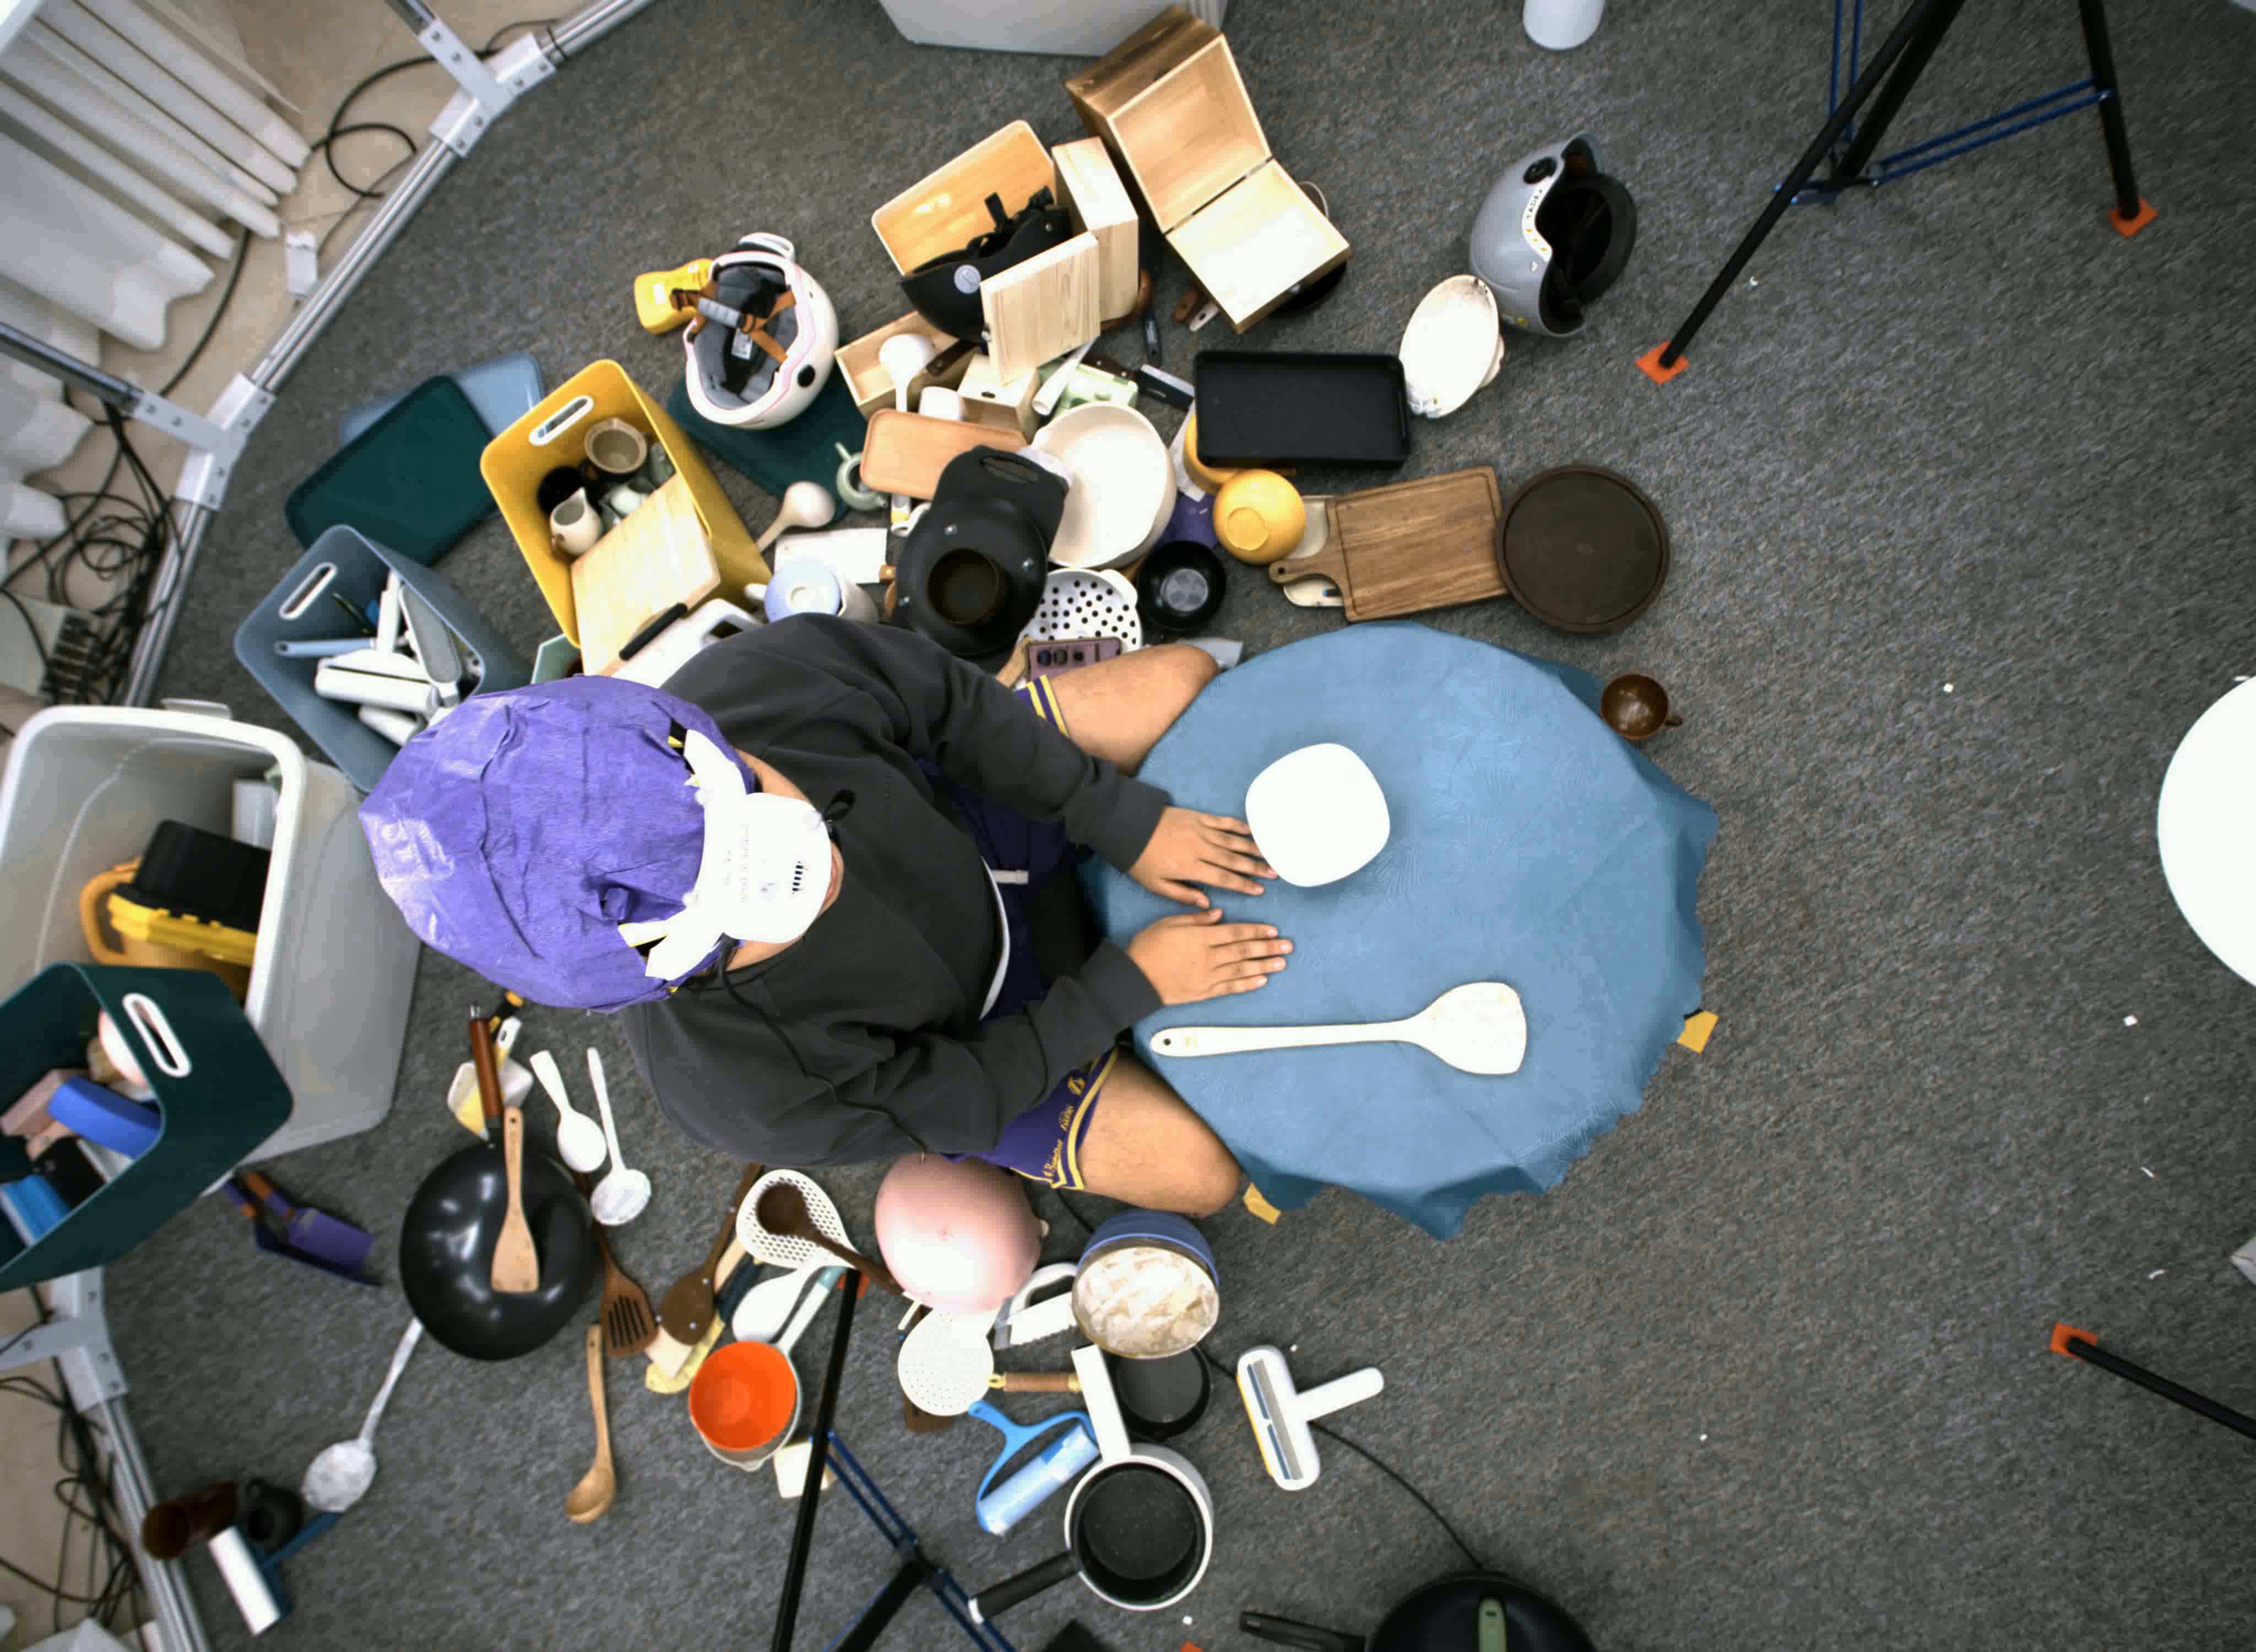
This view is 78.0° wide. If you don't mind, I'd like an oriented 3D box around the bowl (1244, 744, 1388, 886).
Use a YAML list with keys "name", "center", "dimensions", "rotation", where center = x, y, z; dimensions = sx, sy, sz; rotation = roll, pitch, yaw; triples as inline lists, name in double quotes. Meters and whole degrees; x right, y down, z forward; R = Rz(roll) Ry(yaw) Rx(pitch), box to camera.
- name: "bowl"
  center: [0.197, -0.010, 1.450]
  dimensions: [0.152, 0.059, 0.150]
  rotation: [-1, 85, 9]

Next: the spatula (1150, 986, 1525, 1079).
- name: "spatula"
  center: [0.216, 0.223, 1.452]
  dimensions: [0.392, 0.018, 0.095]
  rotation: [-4, 84, 10]
